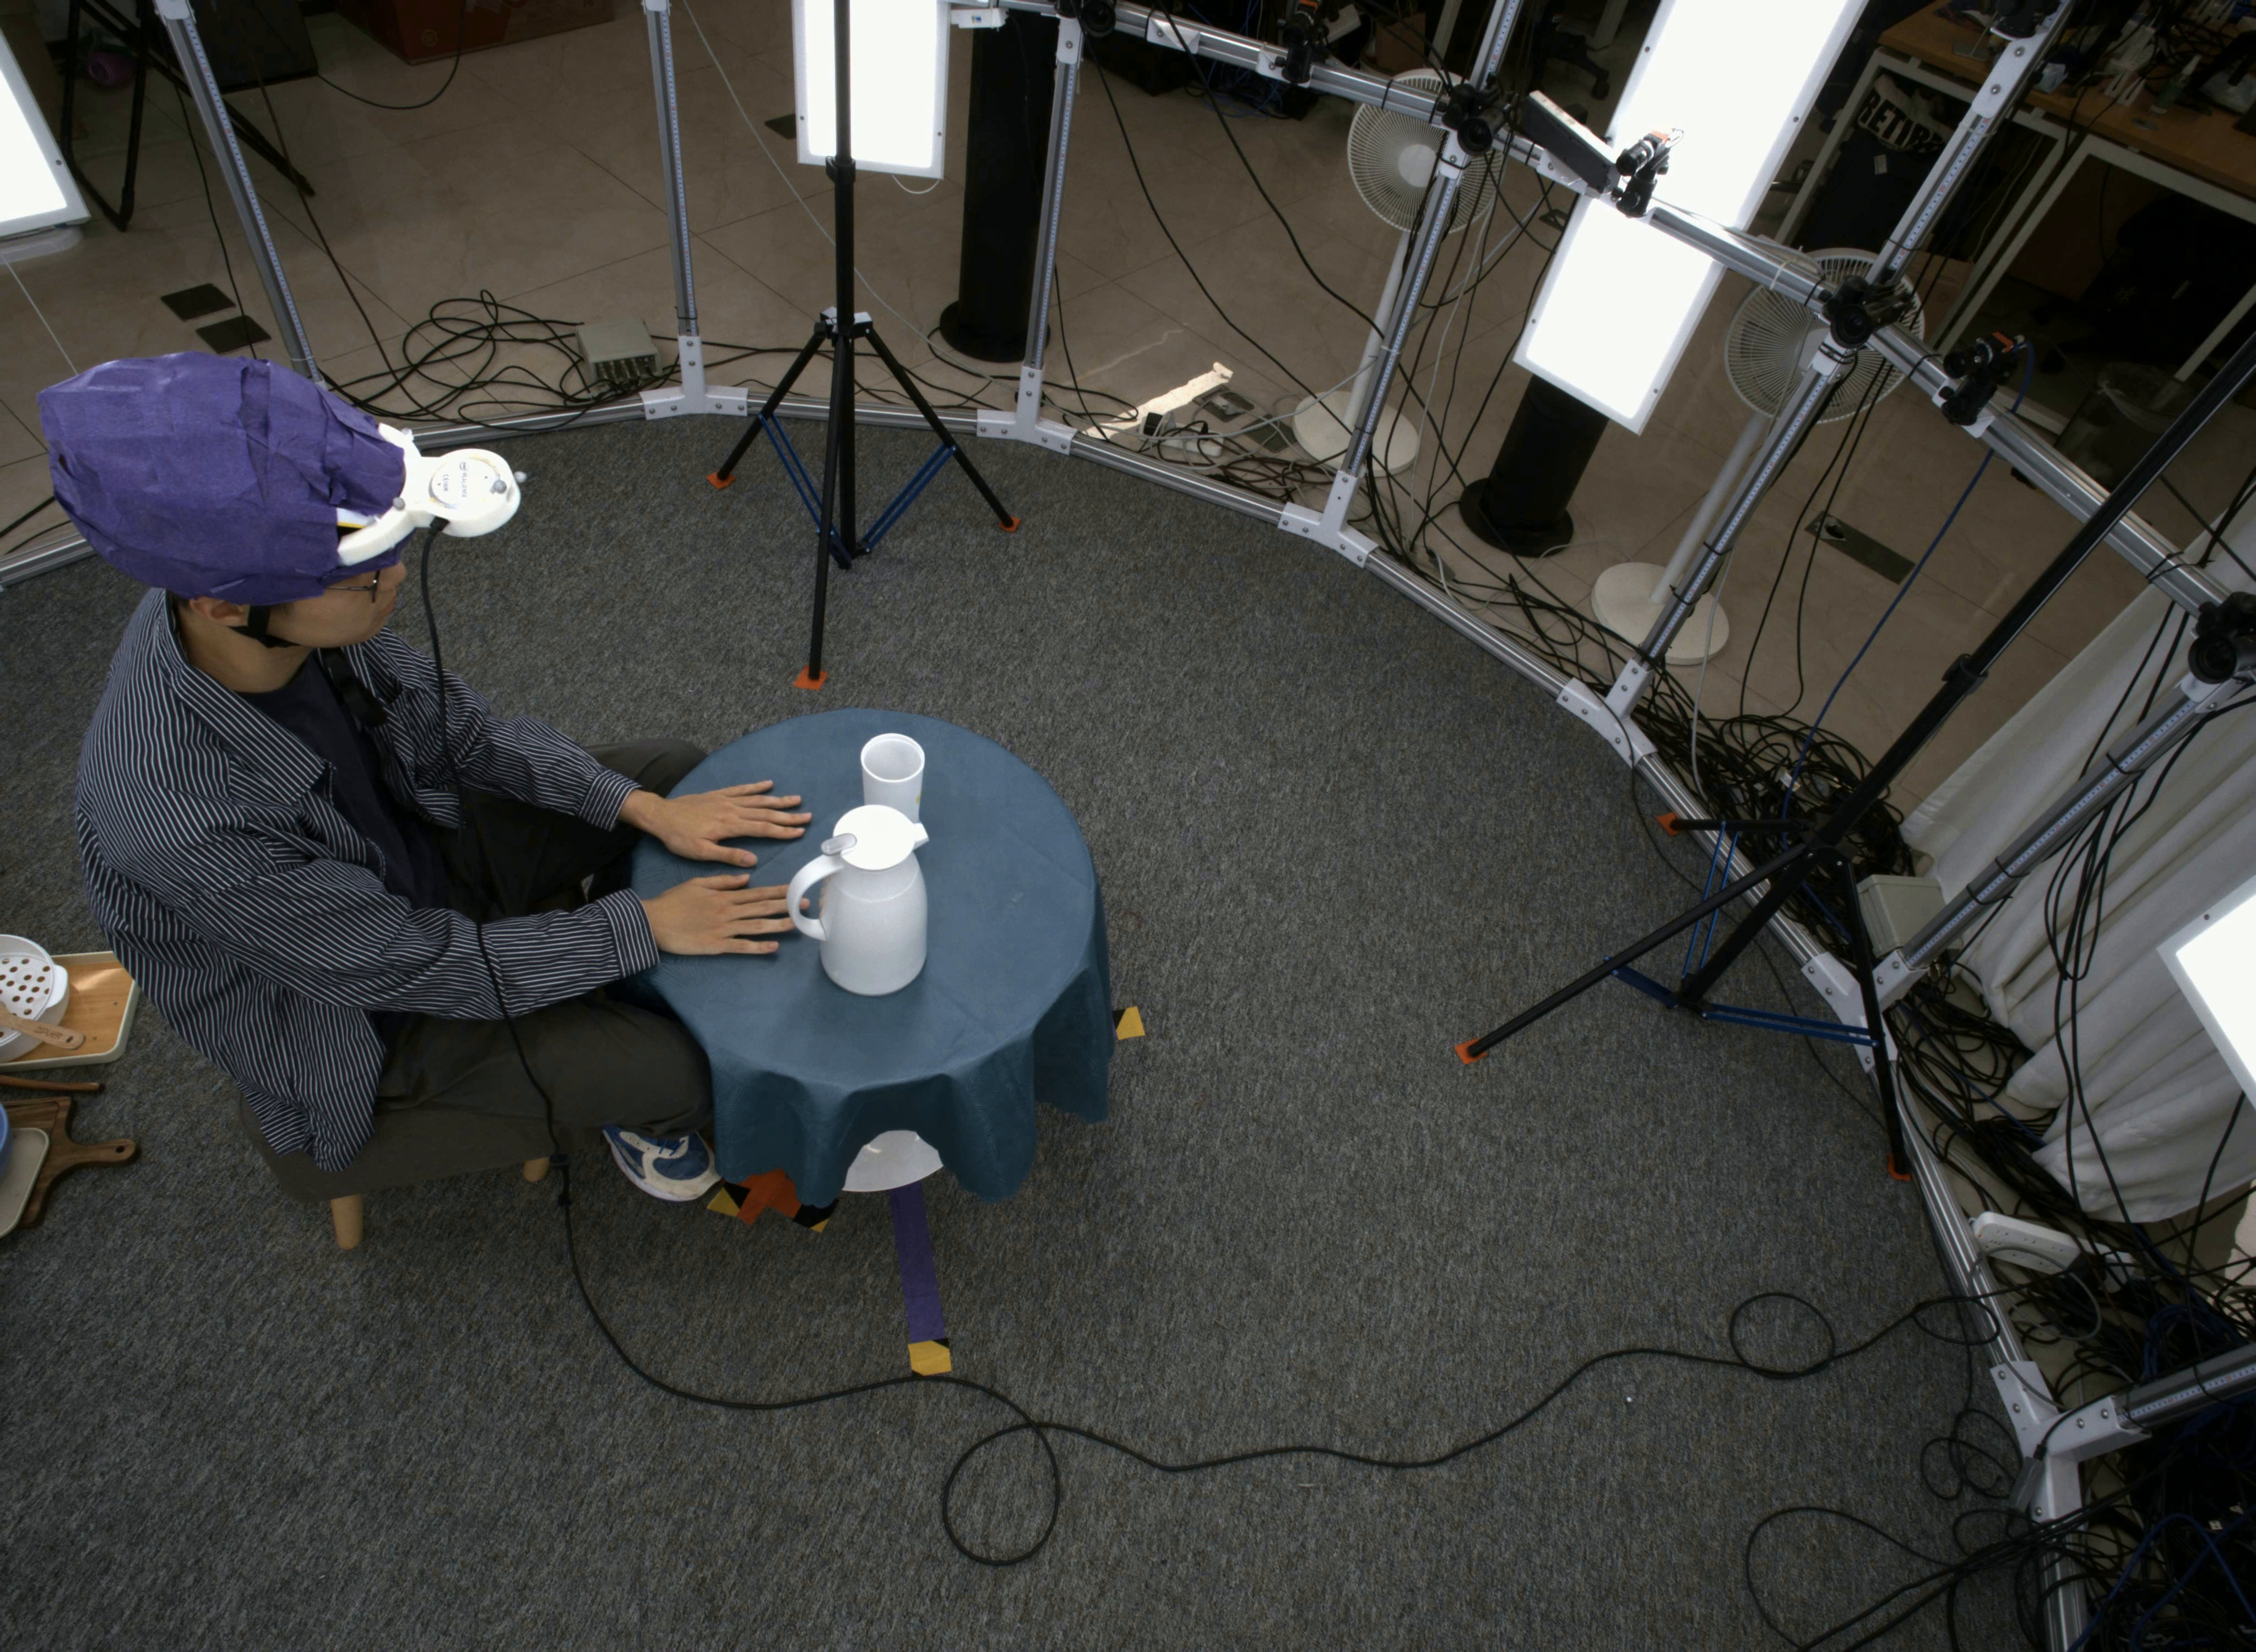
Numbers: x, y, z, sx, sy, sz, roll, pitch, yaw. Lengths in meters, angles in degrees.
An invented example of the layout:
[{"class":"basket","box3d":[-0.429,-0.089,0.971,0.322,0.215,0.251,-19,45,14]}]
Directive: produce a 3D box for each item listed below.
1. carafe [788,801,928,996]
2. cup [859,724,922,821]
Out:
[{"class":"carafe","box3d":[-0.320,0.086,1.536,0.168,0.253,0.129,-22,61,-28]},{"class":"cup","box3d":[-0.316,-0.063,1.730,0.081,0.128,0.080,6,52,-6]}]
